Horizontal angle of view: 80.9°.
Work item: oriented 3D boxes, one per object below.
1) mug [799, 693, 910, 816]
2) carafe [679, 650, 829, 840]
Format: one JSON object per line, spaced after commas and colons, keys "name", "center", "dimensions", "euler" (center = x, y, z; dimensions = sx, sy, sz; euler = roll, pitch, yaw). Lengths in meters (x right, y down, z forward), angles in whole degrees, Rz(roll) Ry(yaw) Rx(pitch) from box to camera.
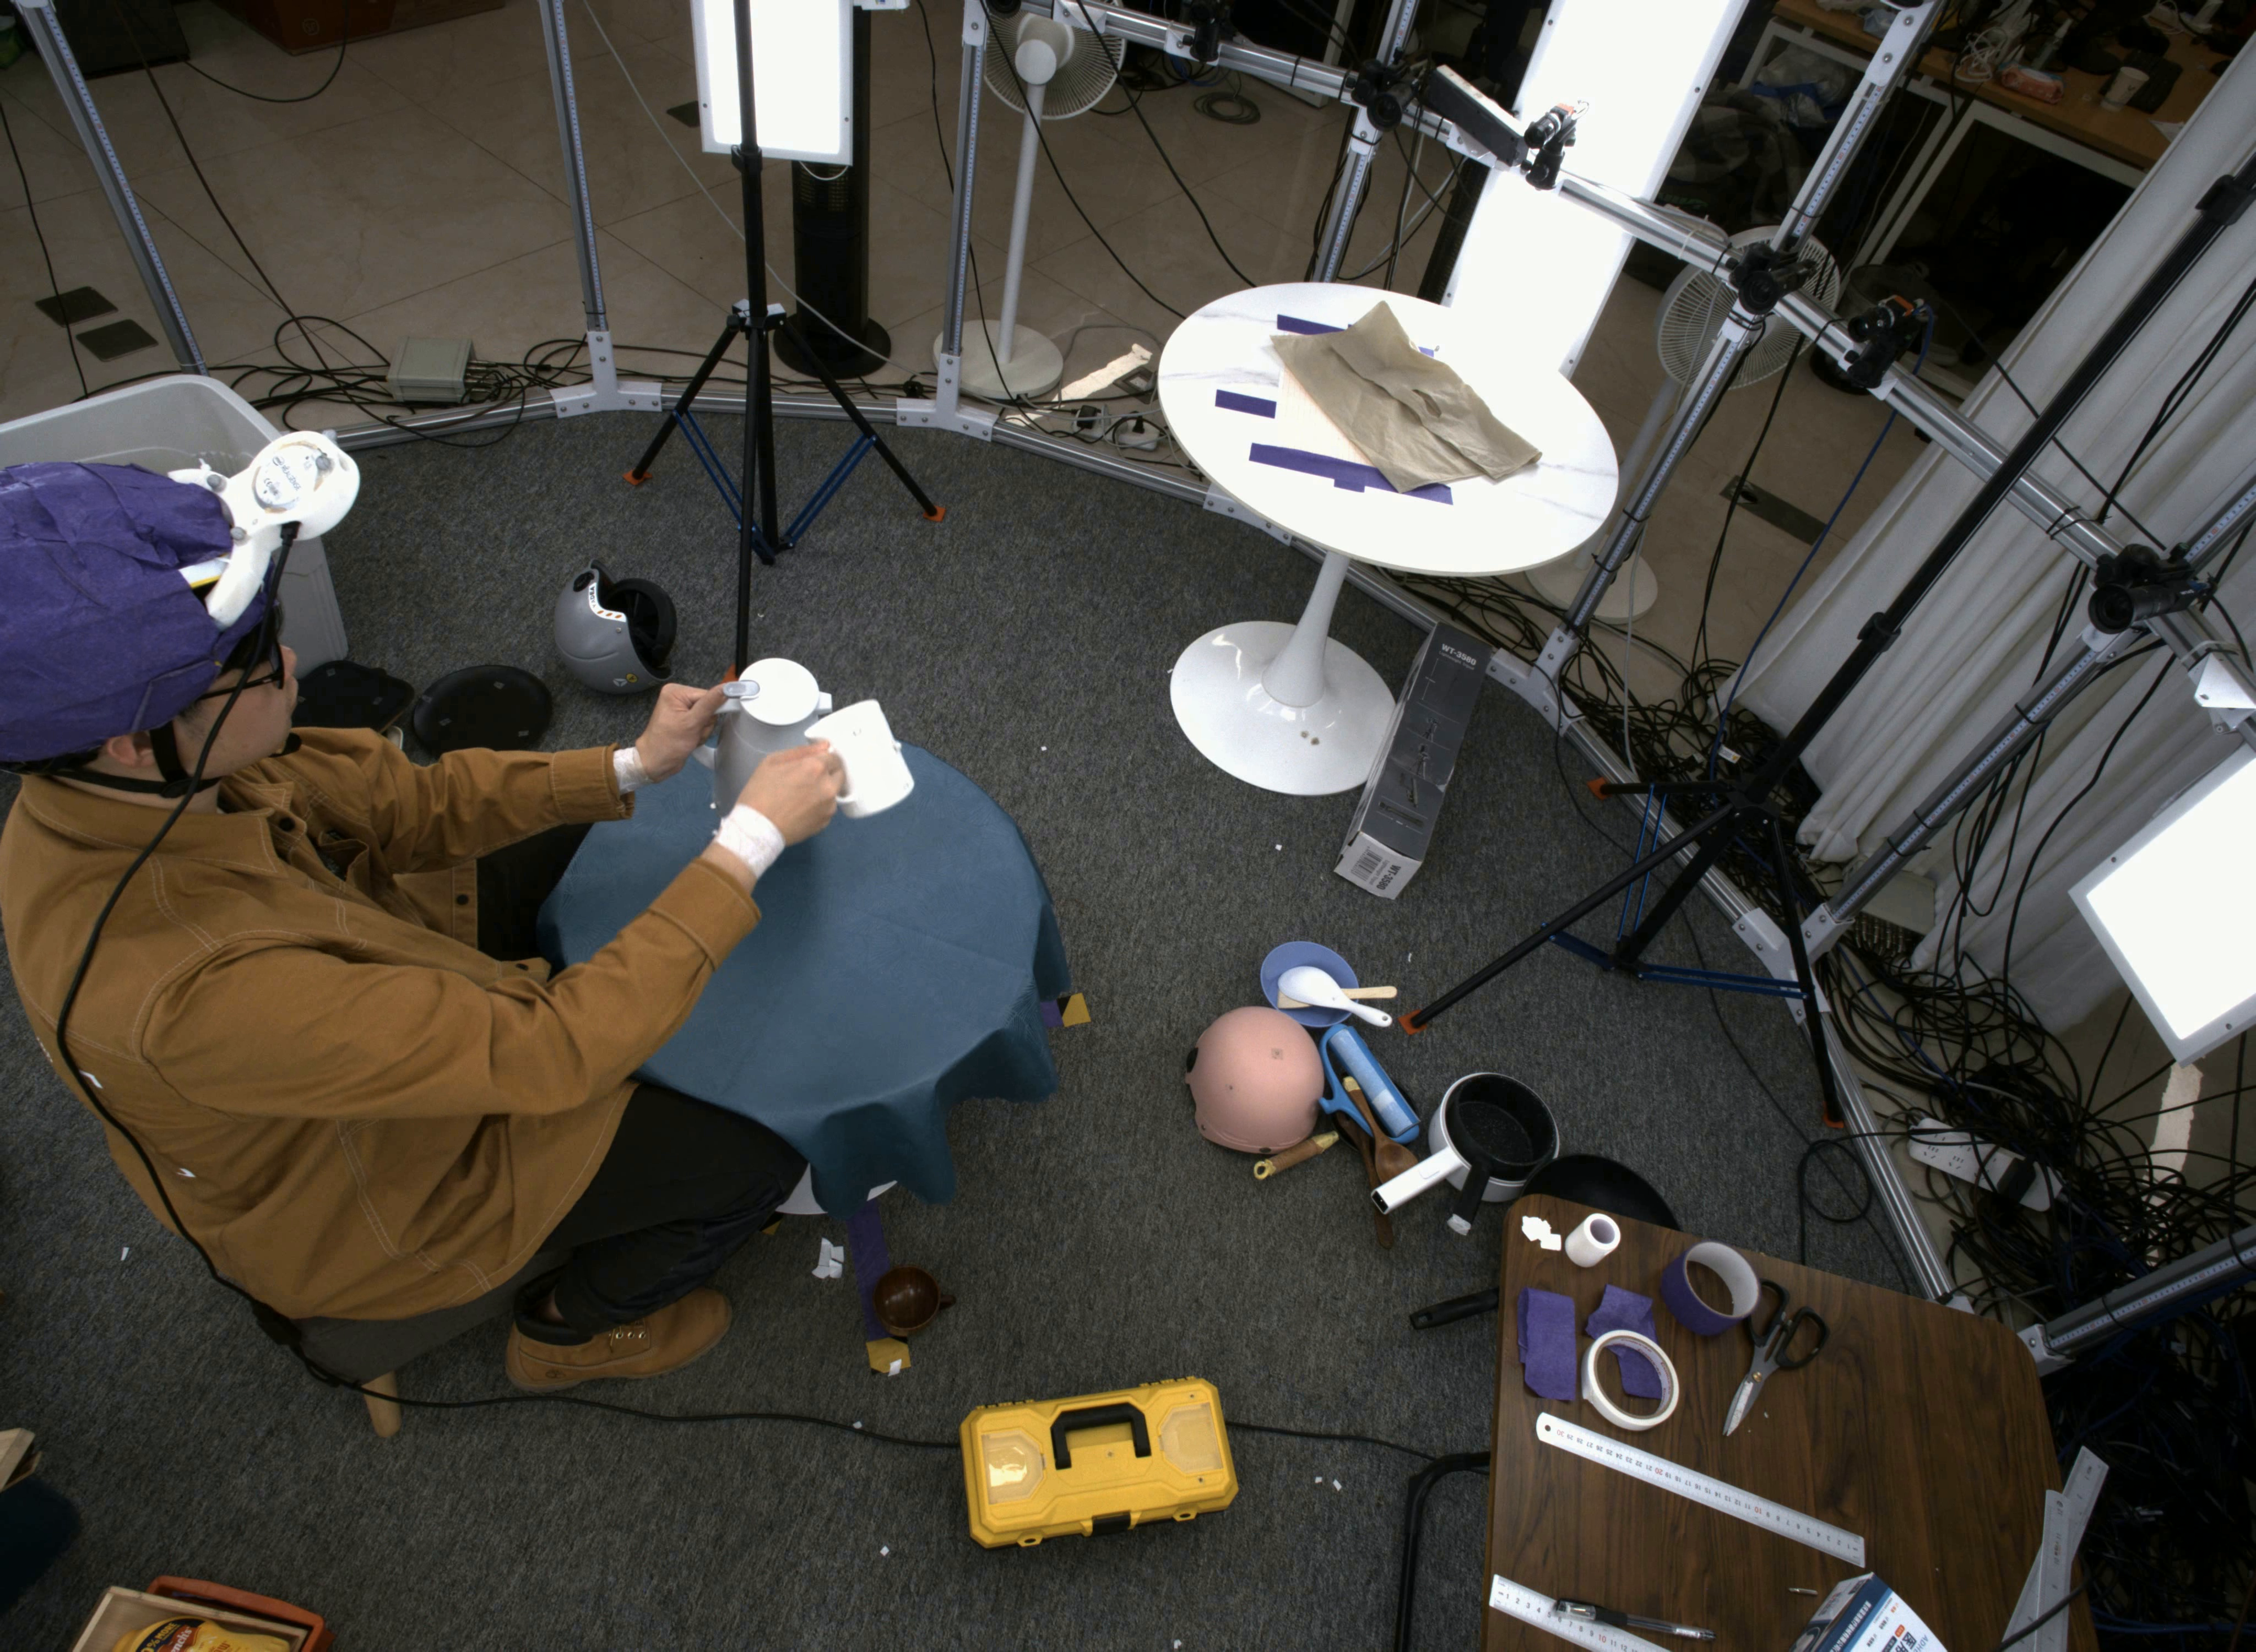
{"name": "mug", "center": [-0.293, -0.068, 1.359], "dimensions": [0.083, 0.105, 0.117], "euler": [-11, 24, 27]}
{"name": "carafe", "center": [-0.449, -0.101, 1.541], "dimensions": [0.169, 0.251, 0.130], "euler": [-1, 62, -19]}
